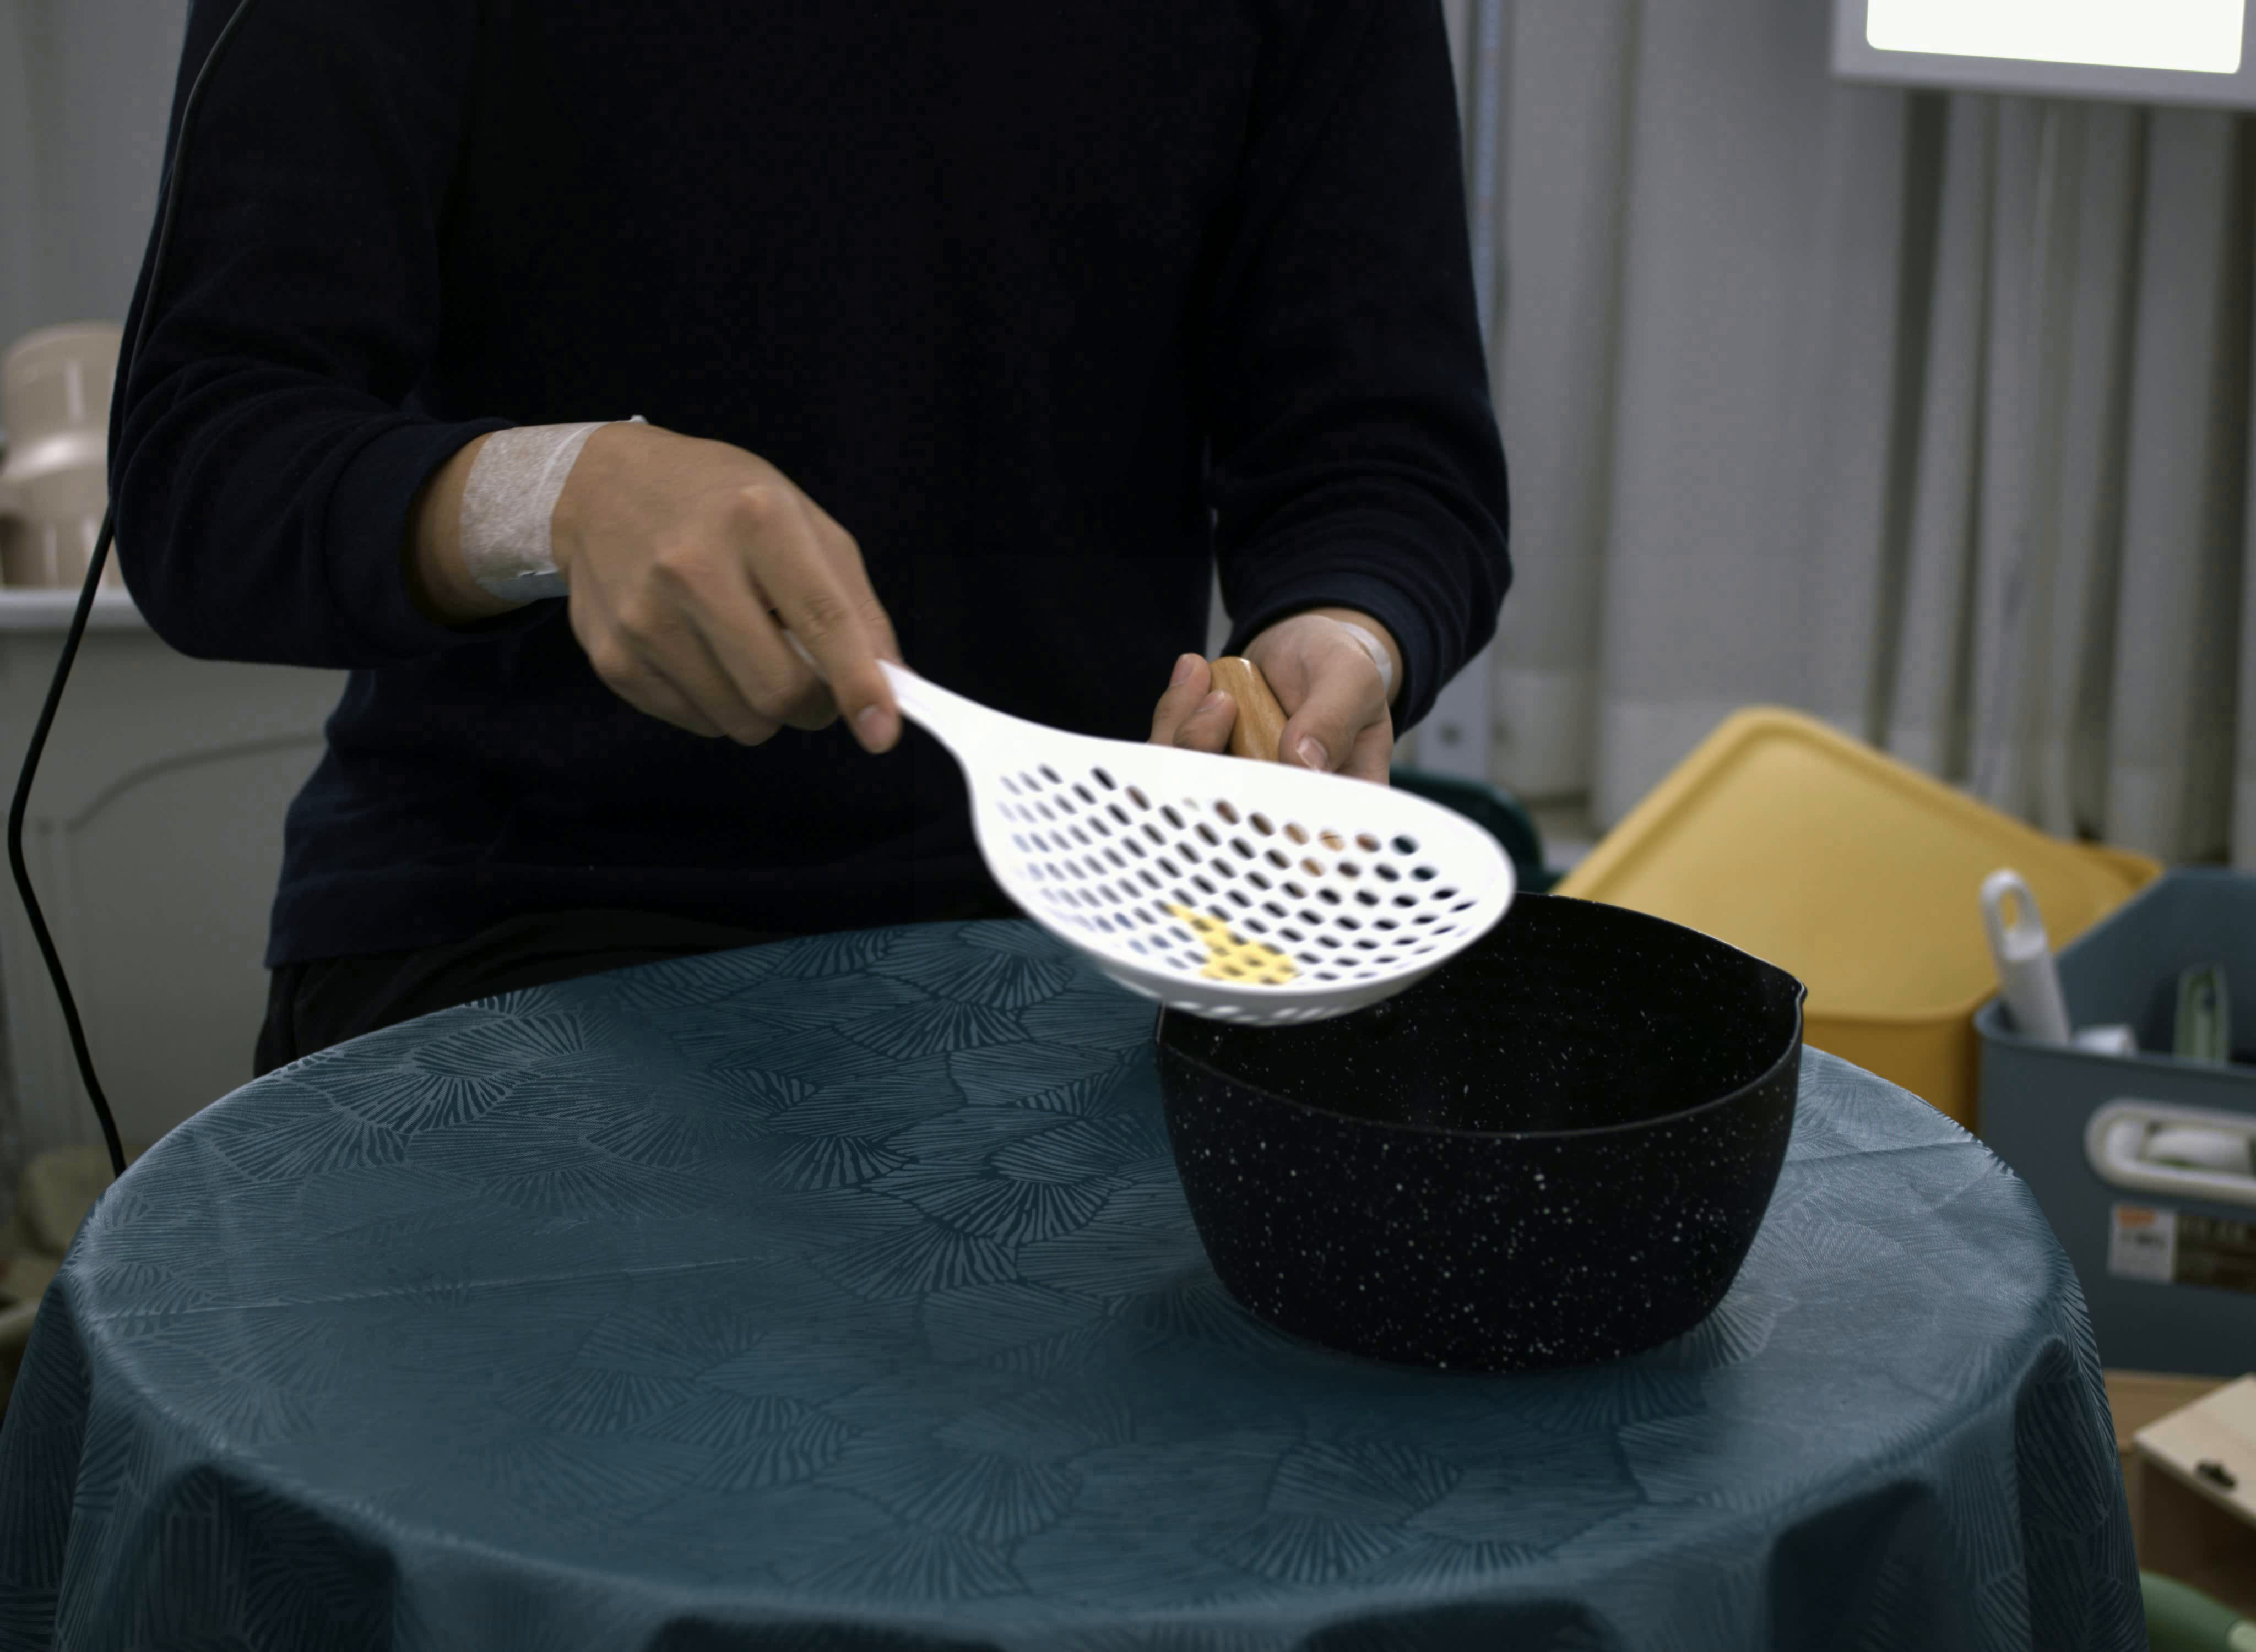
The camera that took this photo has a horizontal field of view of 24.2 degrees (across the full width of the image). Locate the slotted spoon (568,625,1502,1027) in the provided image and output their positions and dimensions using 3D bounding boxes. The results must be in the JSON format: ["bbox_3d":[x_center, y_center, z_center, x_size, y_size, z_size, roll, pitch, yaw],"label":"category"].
[{"bbox_3d":[-0.043,-0.014,1.527,0.137,0.051,0.343,-23,40,-39],"label":"slotted spoon"}]

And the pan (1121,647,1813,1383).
[{"bbox_3d":[0.077,0.052,1.593,0.208,0.109,0.339,-6,24,-17],"label":"pan"}]
